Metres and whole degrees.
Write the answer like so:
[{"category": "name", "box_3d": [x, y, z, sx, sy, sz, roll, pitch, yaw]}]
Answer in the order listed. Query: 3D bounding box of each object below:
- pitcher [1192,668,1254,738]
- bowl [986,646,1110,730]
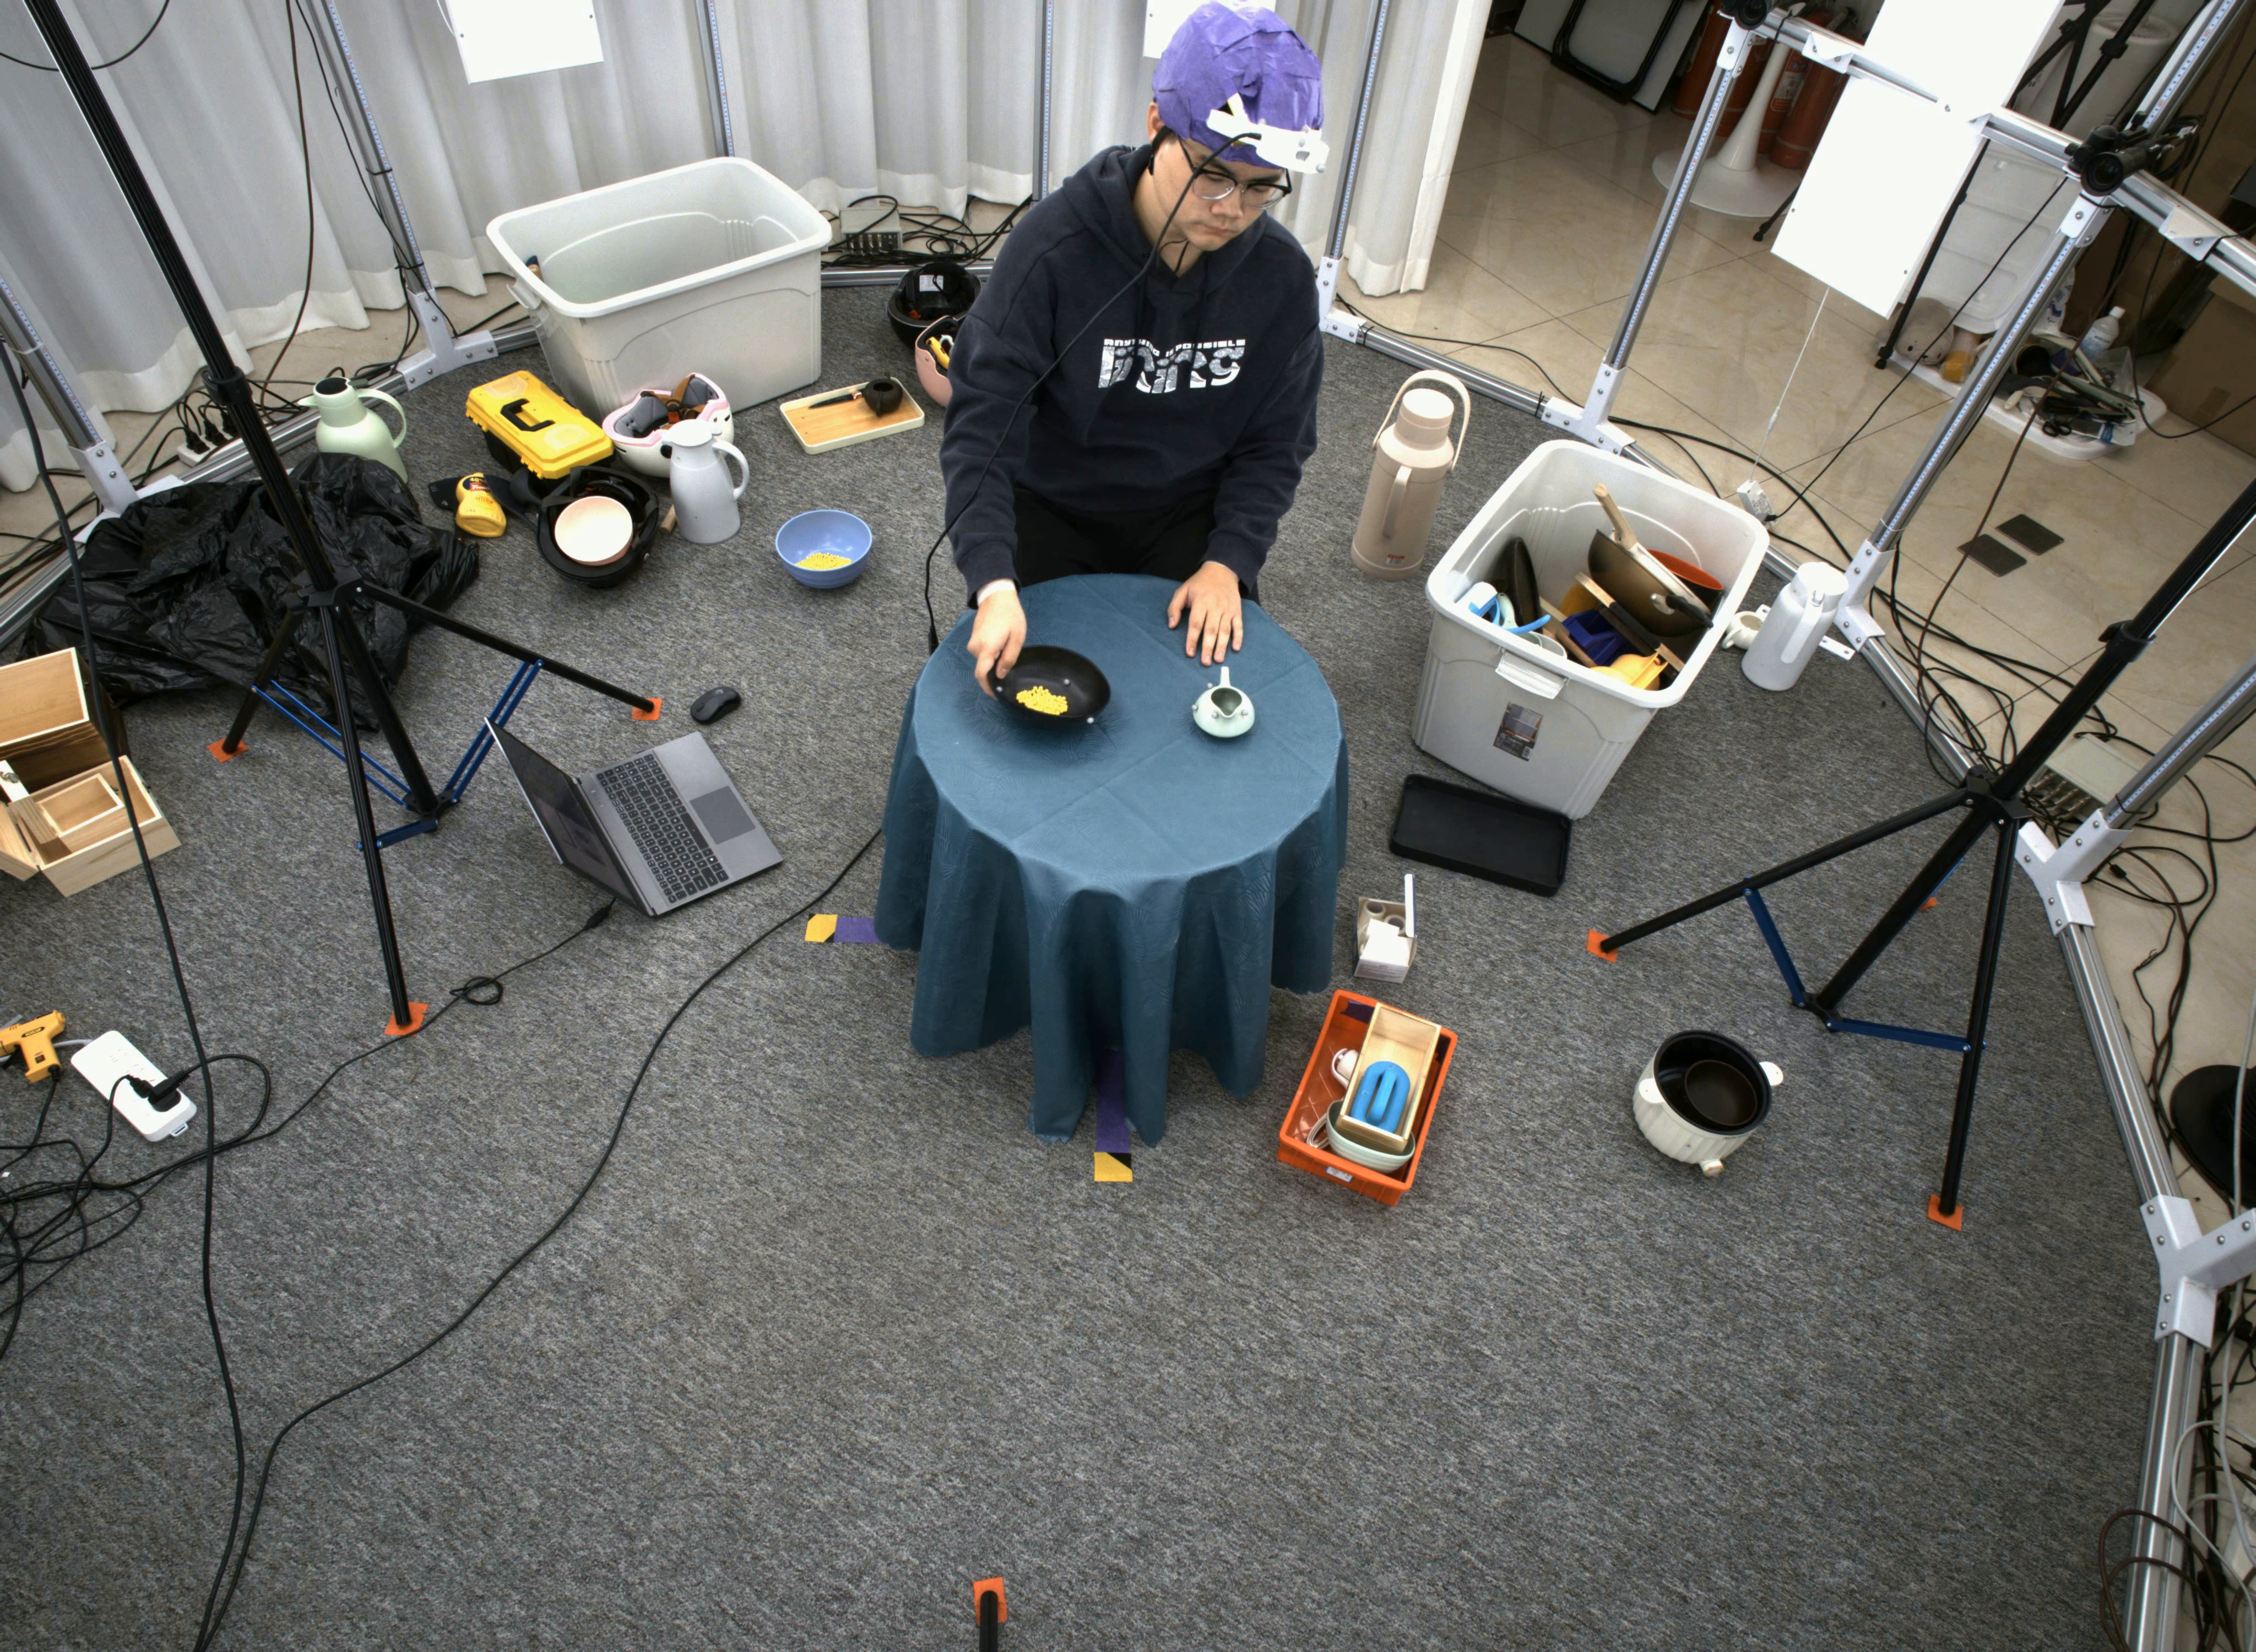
[{"category": "pitcher", "box_3d": [0.133, -0.171, 1.788, 0.086, 0.059, 0.111, 2, 47, -4]}, {"category": "bowl", "box_3d": [-0.113, -0.178, 1.763, 0.170, 0.065, 0.141, 9, 47, -8]}]
